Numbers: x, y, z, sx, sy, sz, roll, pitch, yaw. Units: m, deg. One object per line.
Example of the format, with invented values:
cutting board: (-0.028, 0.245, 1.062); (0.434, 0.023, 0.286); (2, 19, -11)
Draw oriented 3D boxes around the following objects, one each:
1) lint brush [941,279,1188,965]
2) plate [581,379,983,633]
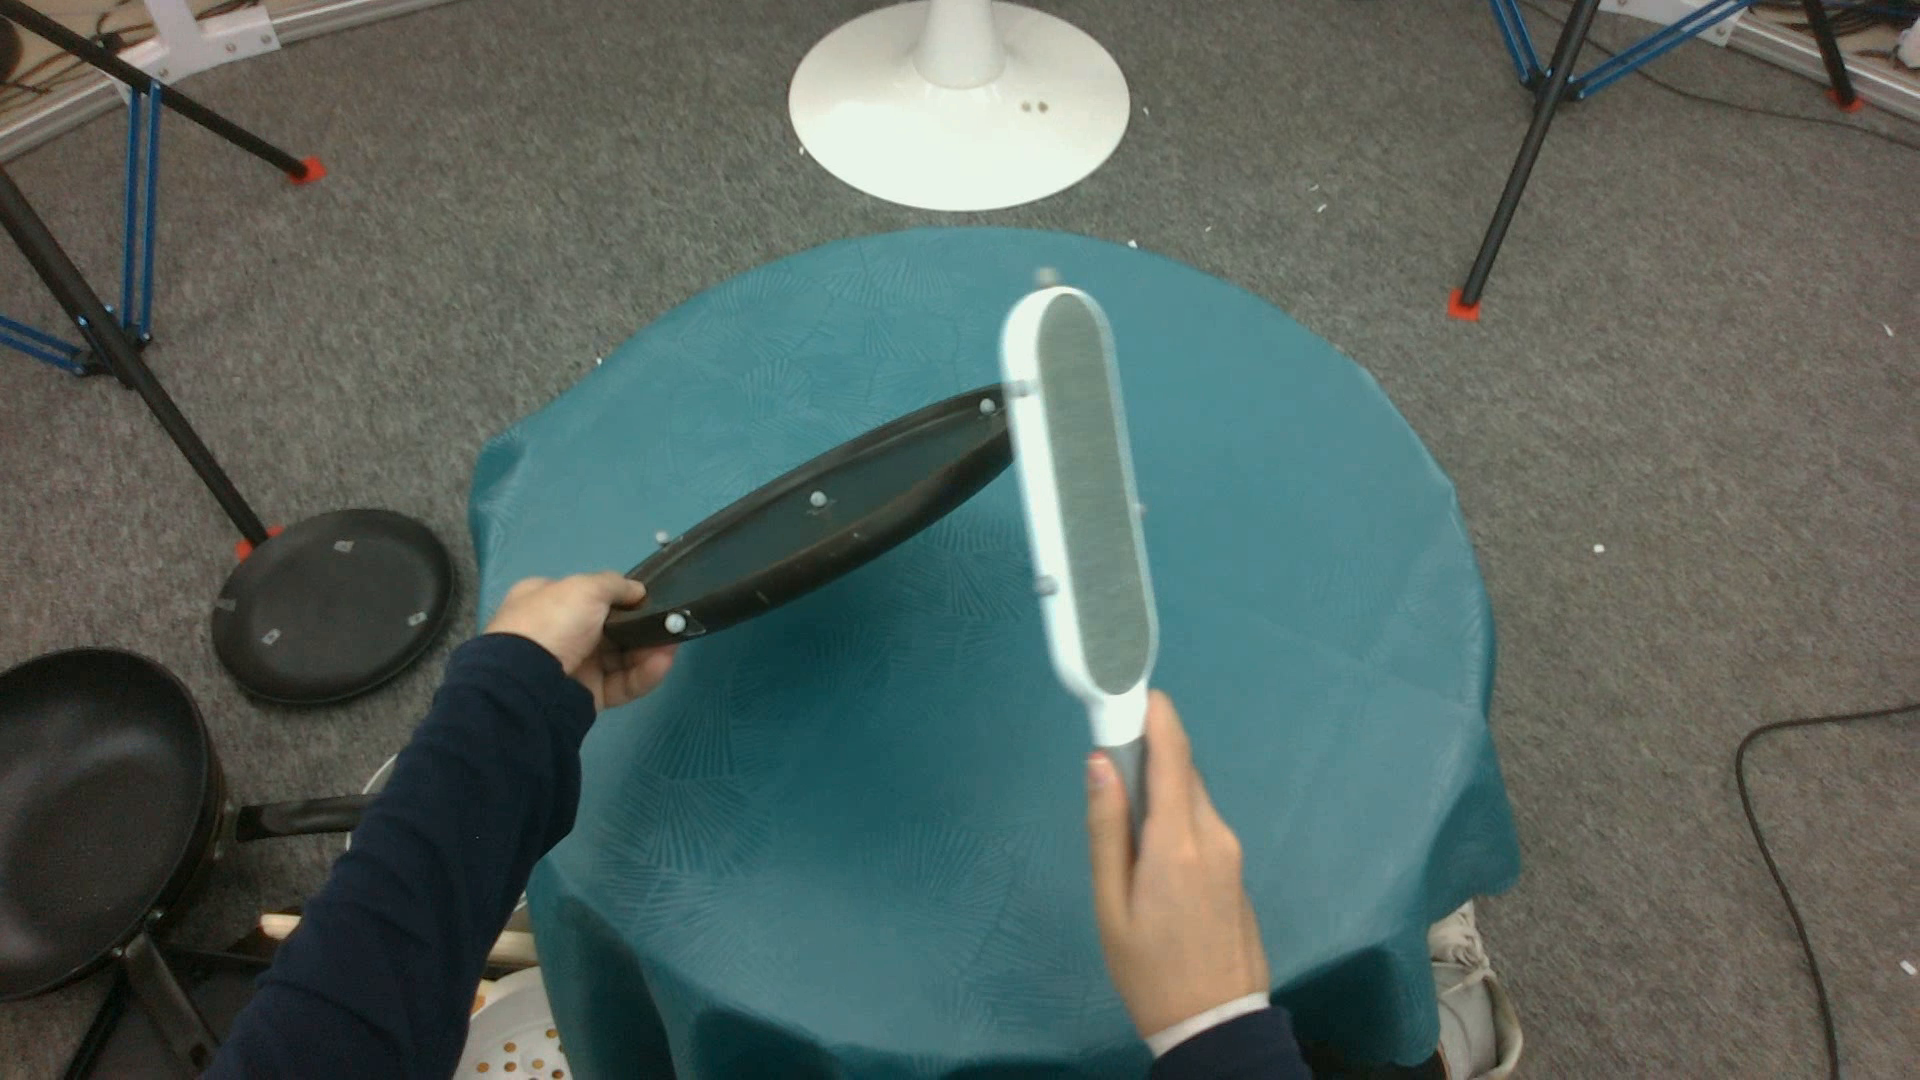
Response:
lint brush: (0.049, 0.040, 0.584); (0.021, 0.308, 0.060); (-8, 12, 41)
plate: (-0.074, -0.024, 0.700); (0.255, 0.254, 0.029); (-33, 104, -23)
